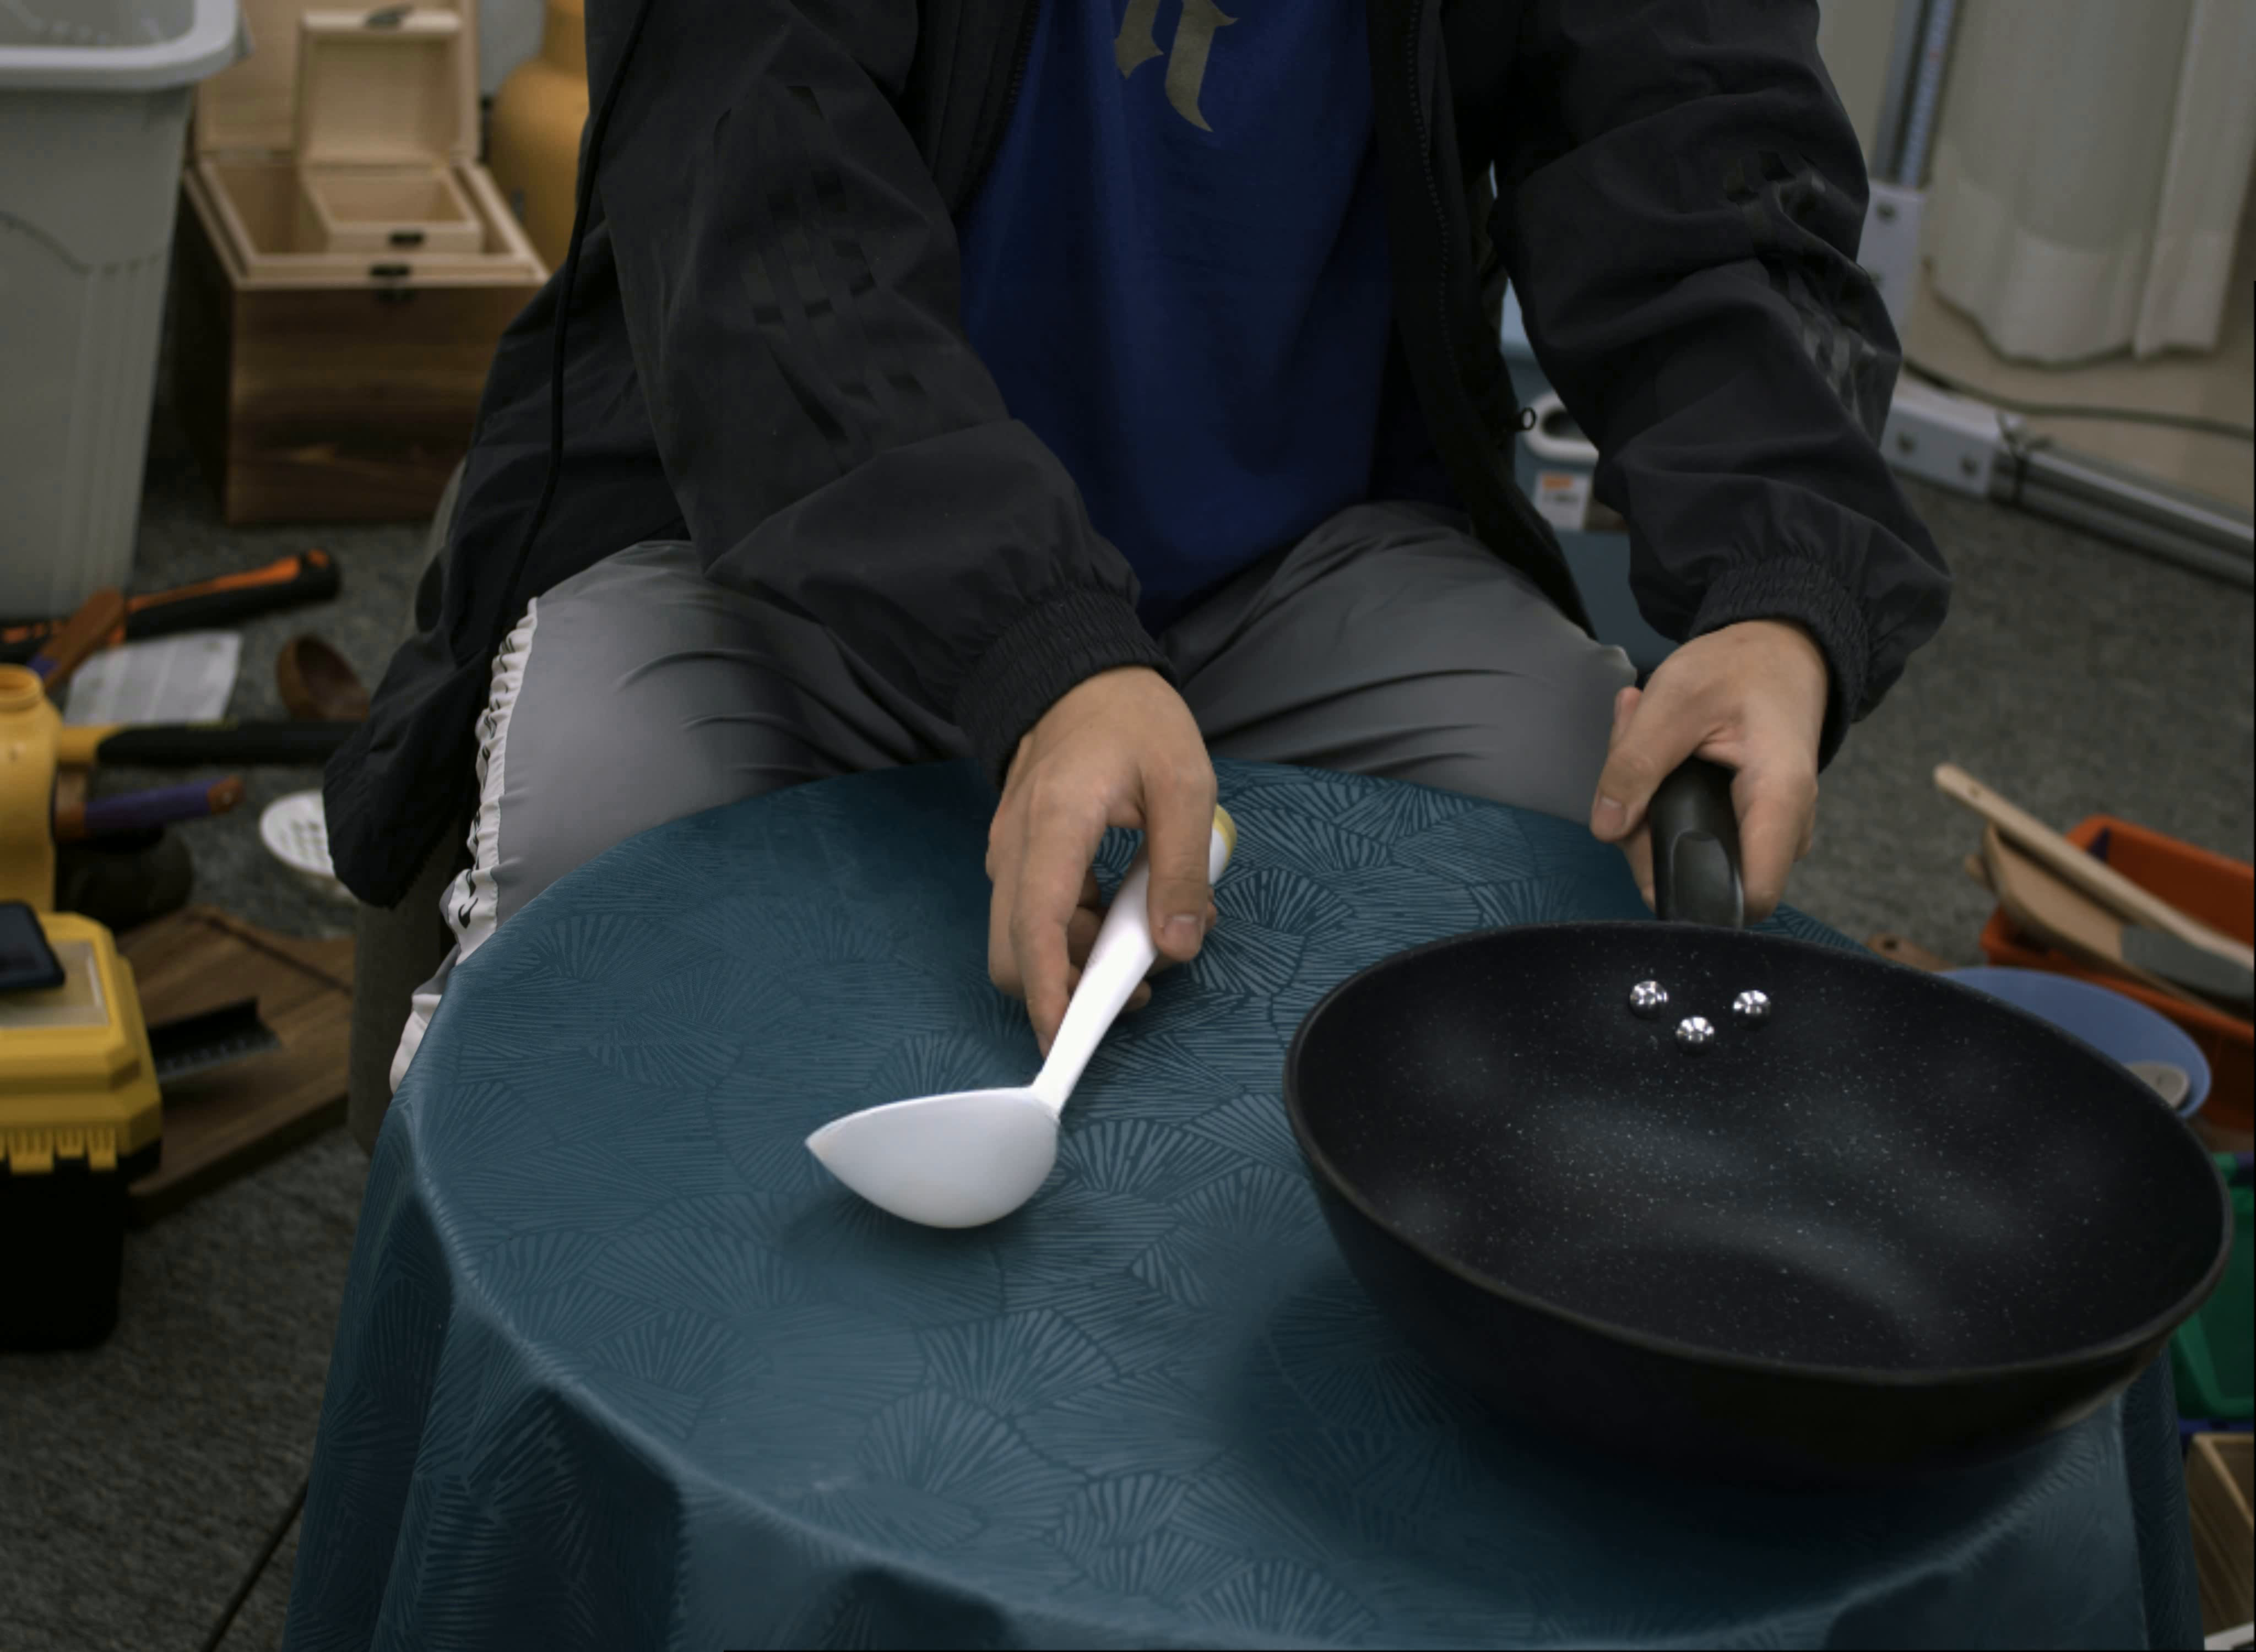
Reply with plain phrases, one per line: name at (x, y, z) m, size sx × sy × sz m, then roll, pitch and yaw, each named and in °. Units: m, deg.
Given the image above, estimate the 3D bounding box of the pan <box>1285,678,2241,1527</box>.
pan at (0.198, 0.095, 1.791) m, size 0.309 × 0.111 × 0.479 m, roll 7°, pitch 25°, yaw -4°

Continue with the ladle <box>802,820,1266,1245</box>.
ladle at (-0.022, 0.060, 1.857) m, size 0.090 × 0.070 × 0.293 m, roll -26°, pitch 15°, yaw 31°
